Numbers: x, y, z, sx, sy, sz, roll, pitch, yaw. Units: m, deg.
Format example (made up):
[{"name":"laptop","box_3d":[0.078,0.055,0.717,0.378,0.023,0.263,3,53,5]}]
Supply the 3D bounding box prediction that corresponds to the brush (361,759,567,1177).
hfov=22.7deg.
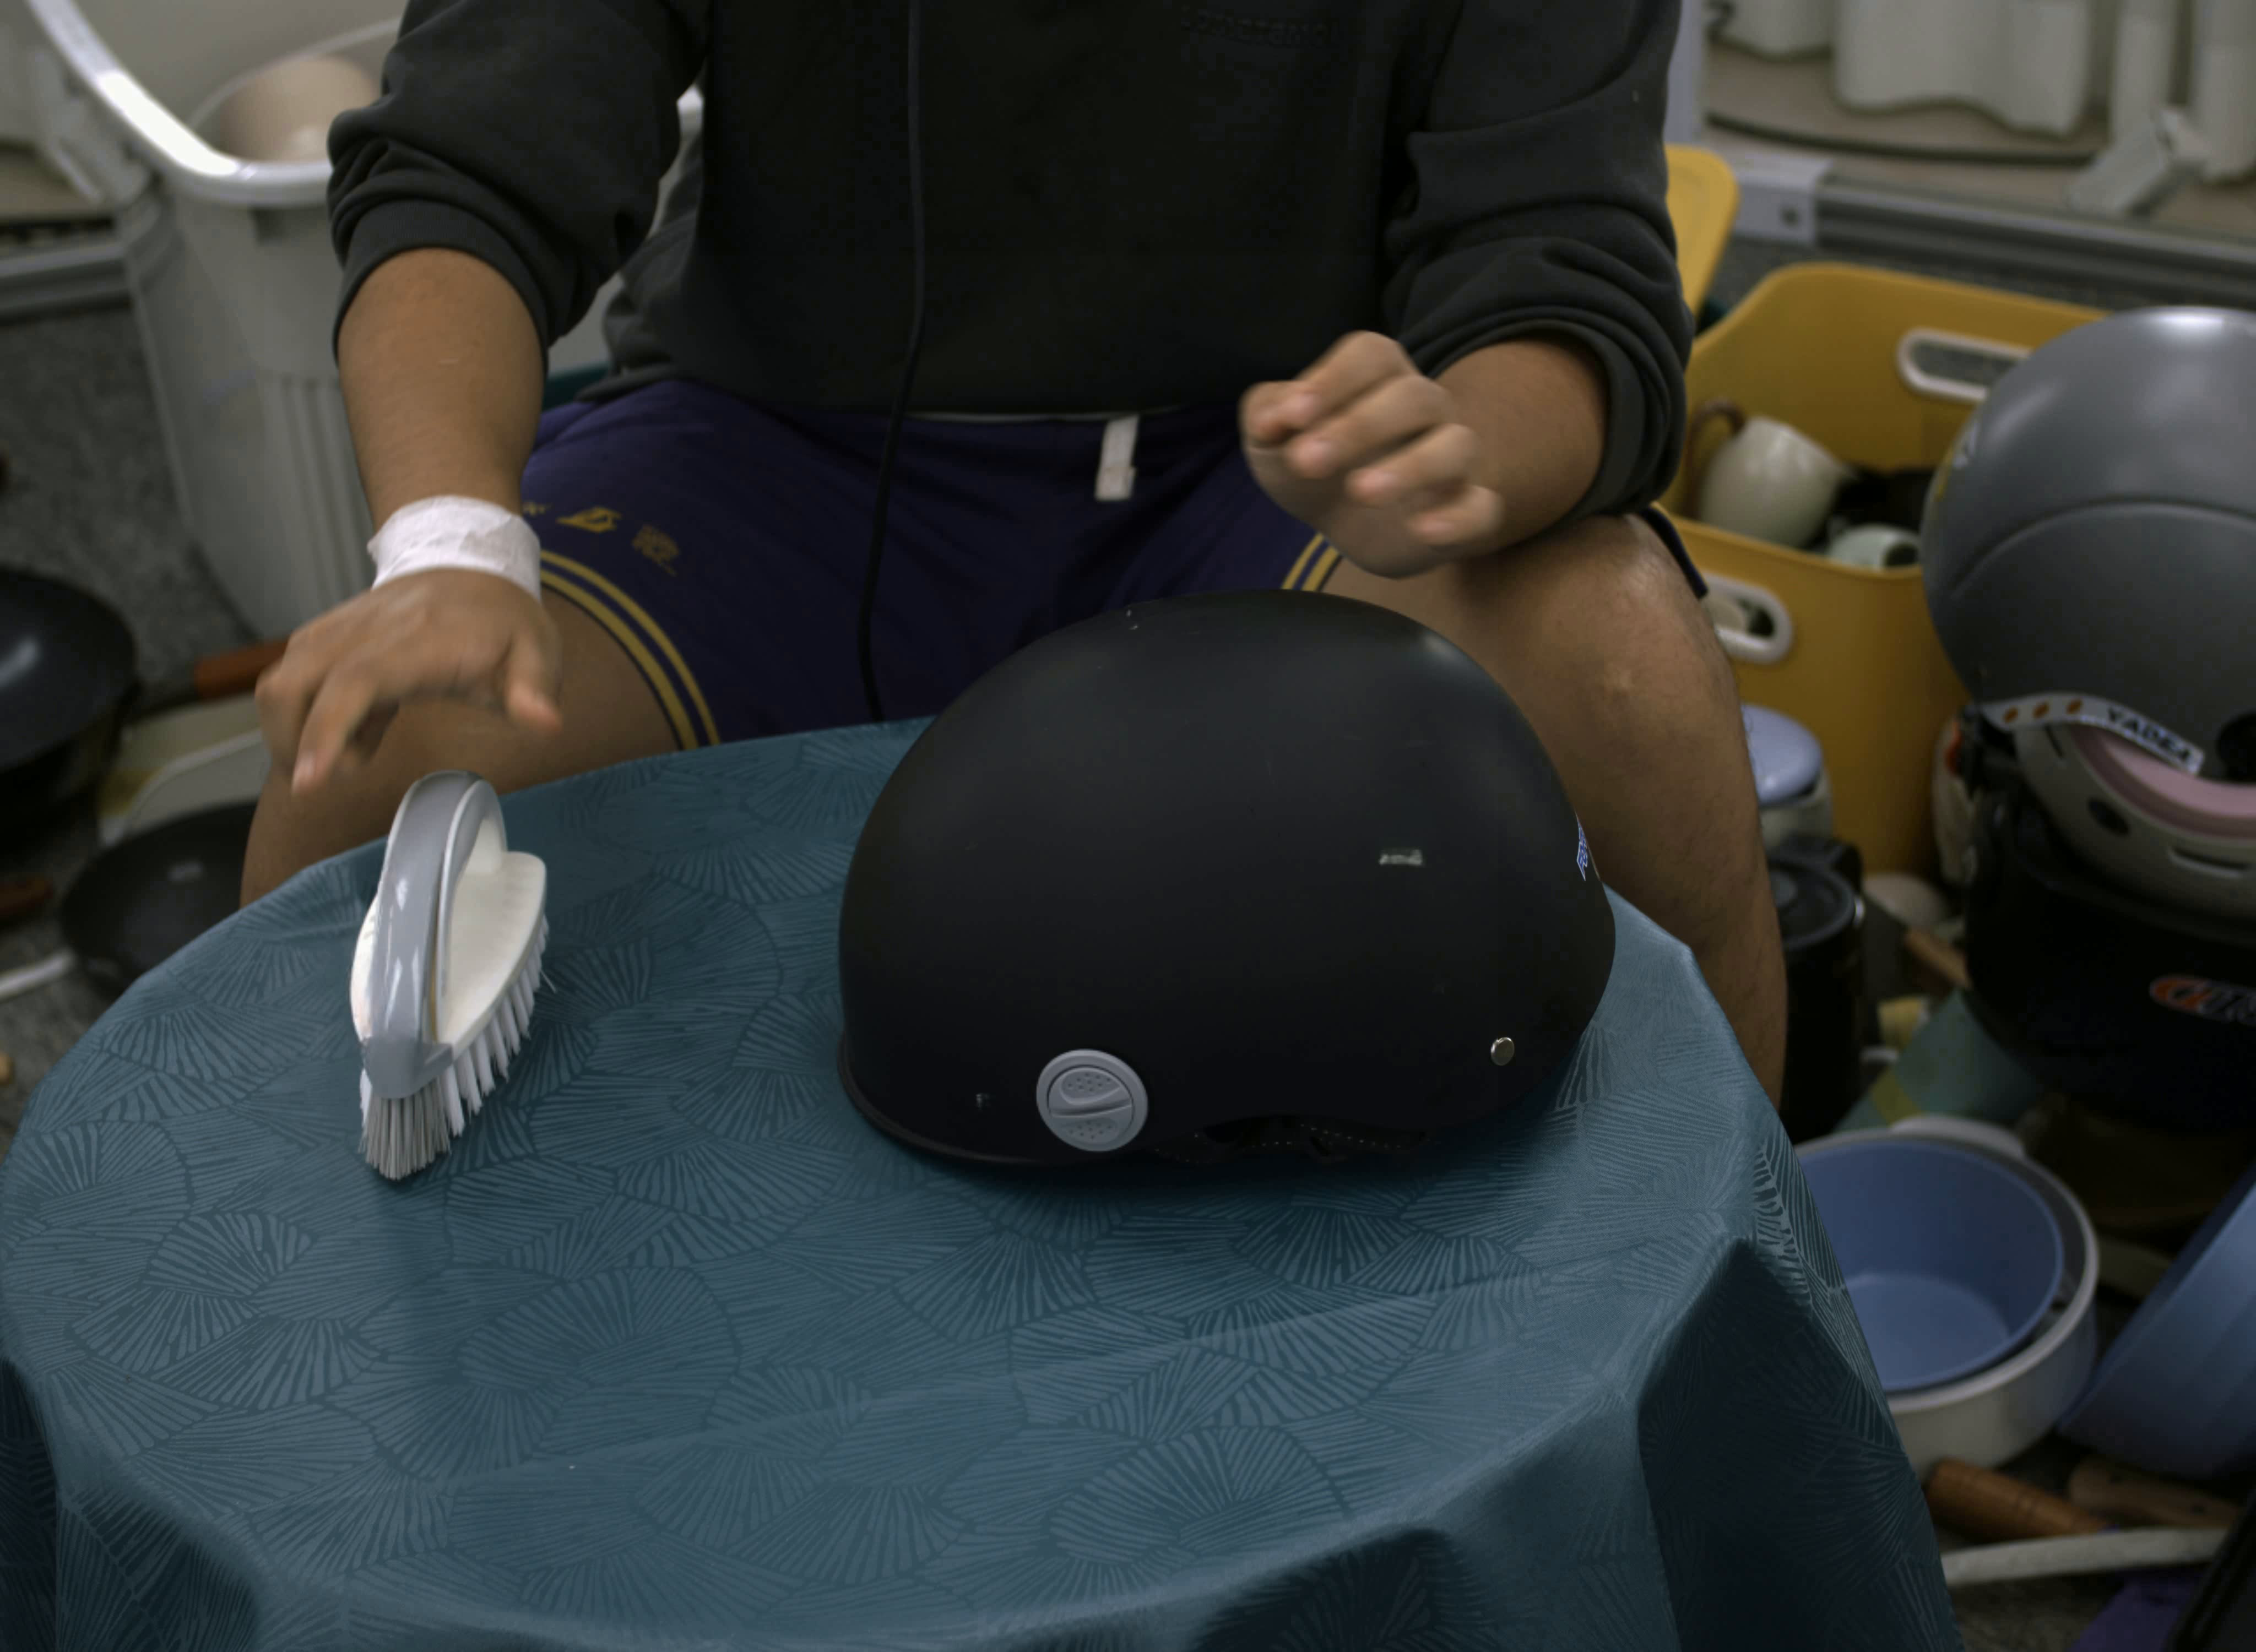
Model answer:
[{"name":"brush","box_3d":[-0.238,0.042,1.944,0.061,0.093,0.178,-3,28,7]}]

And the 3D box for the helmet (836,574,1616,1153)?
[{"name":"helmet","box_3d":[0.028,0.003,1.916,0.271,0.165,0.233,-3,26,5]}]
